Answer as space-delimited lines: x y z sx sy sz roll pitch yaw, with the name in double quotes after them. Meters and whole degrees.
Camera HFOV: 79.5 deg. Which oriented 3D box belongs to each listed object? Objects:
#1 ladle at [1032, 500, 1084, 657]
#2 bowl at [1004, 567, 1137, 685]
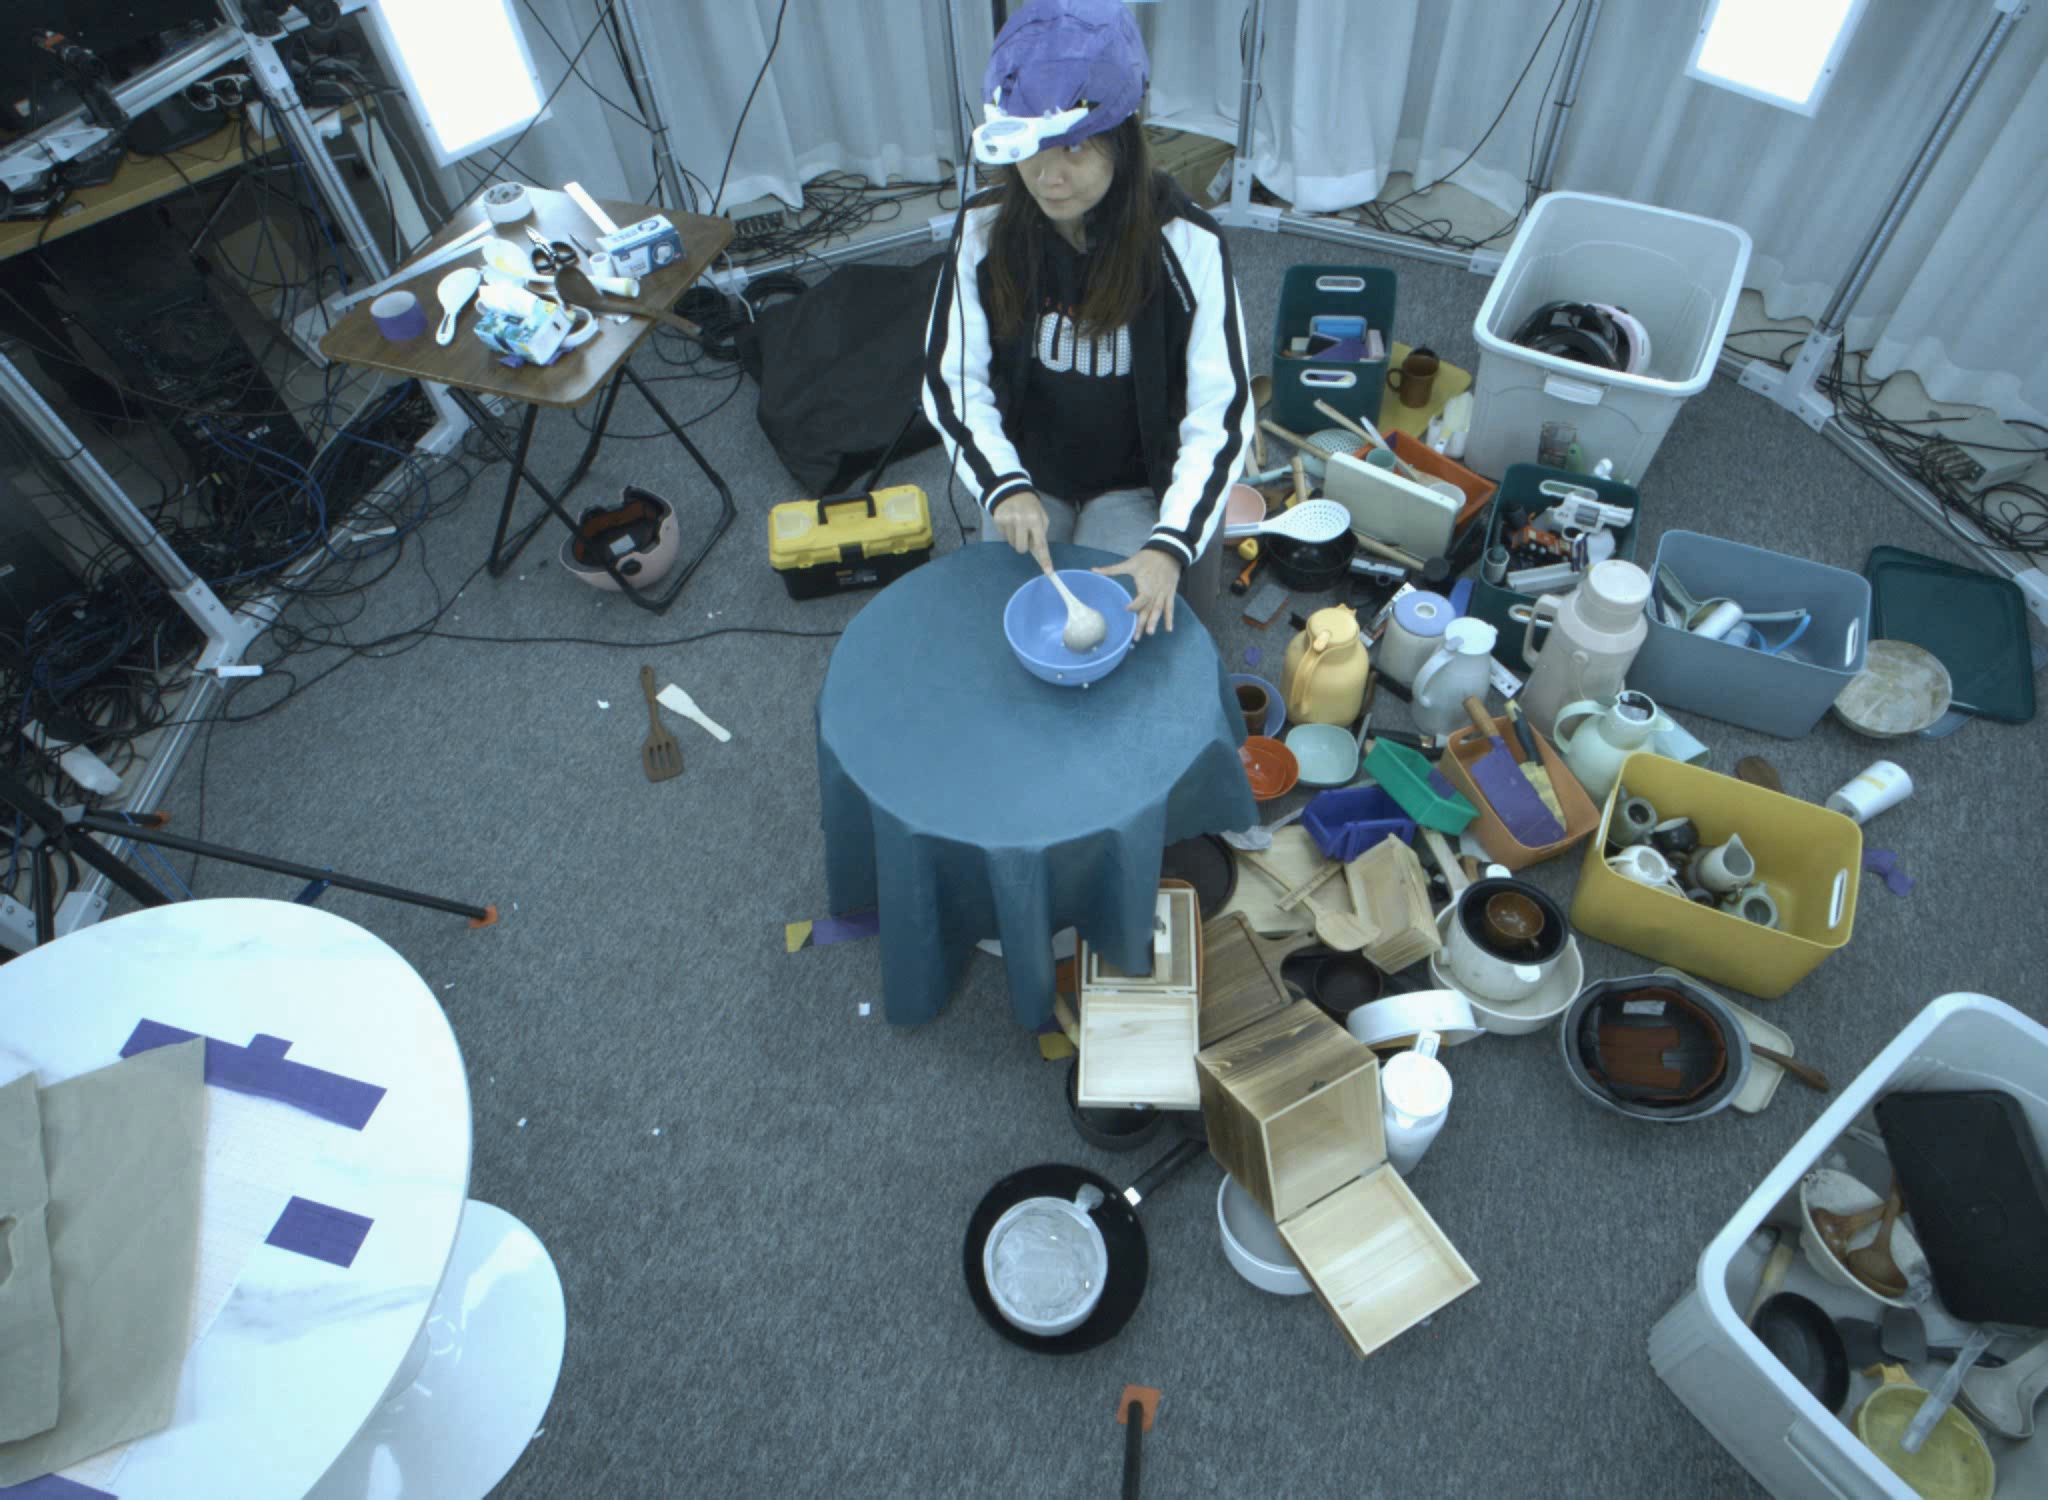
0.027 -0.259 1.861 0.072 0.074 0.251 -32 64 33 "ladle"
0.071 -0.171 1.846 0.196 0.096 0.194 0 58 2 "bowl"
